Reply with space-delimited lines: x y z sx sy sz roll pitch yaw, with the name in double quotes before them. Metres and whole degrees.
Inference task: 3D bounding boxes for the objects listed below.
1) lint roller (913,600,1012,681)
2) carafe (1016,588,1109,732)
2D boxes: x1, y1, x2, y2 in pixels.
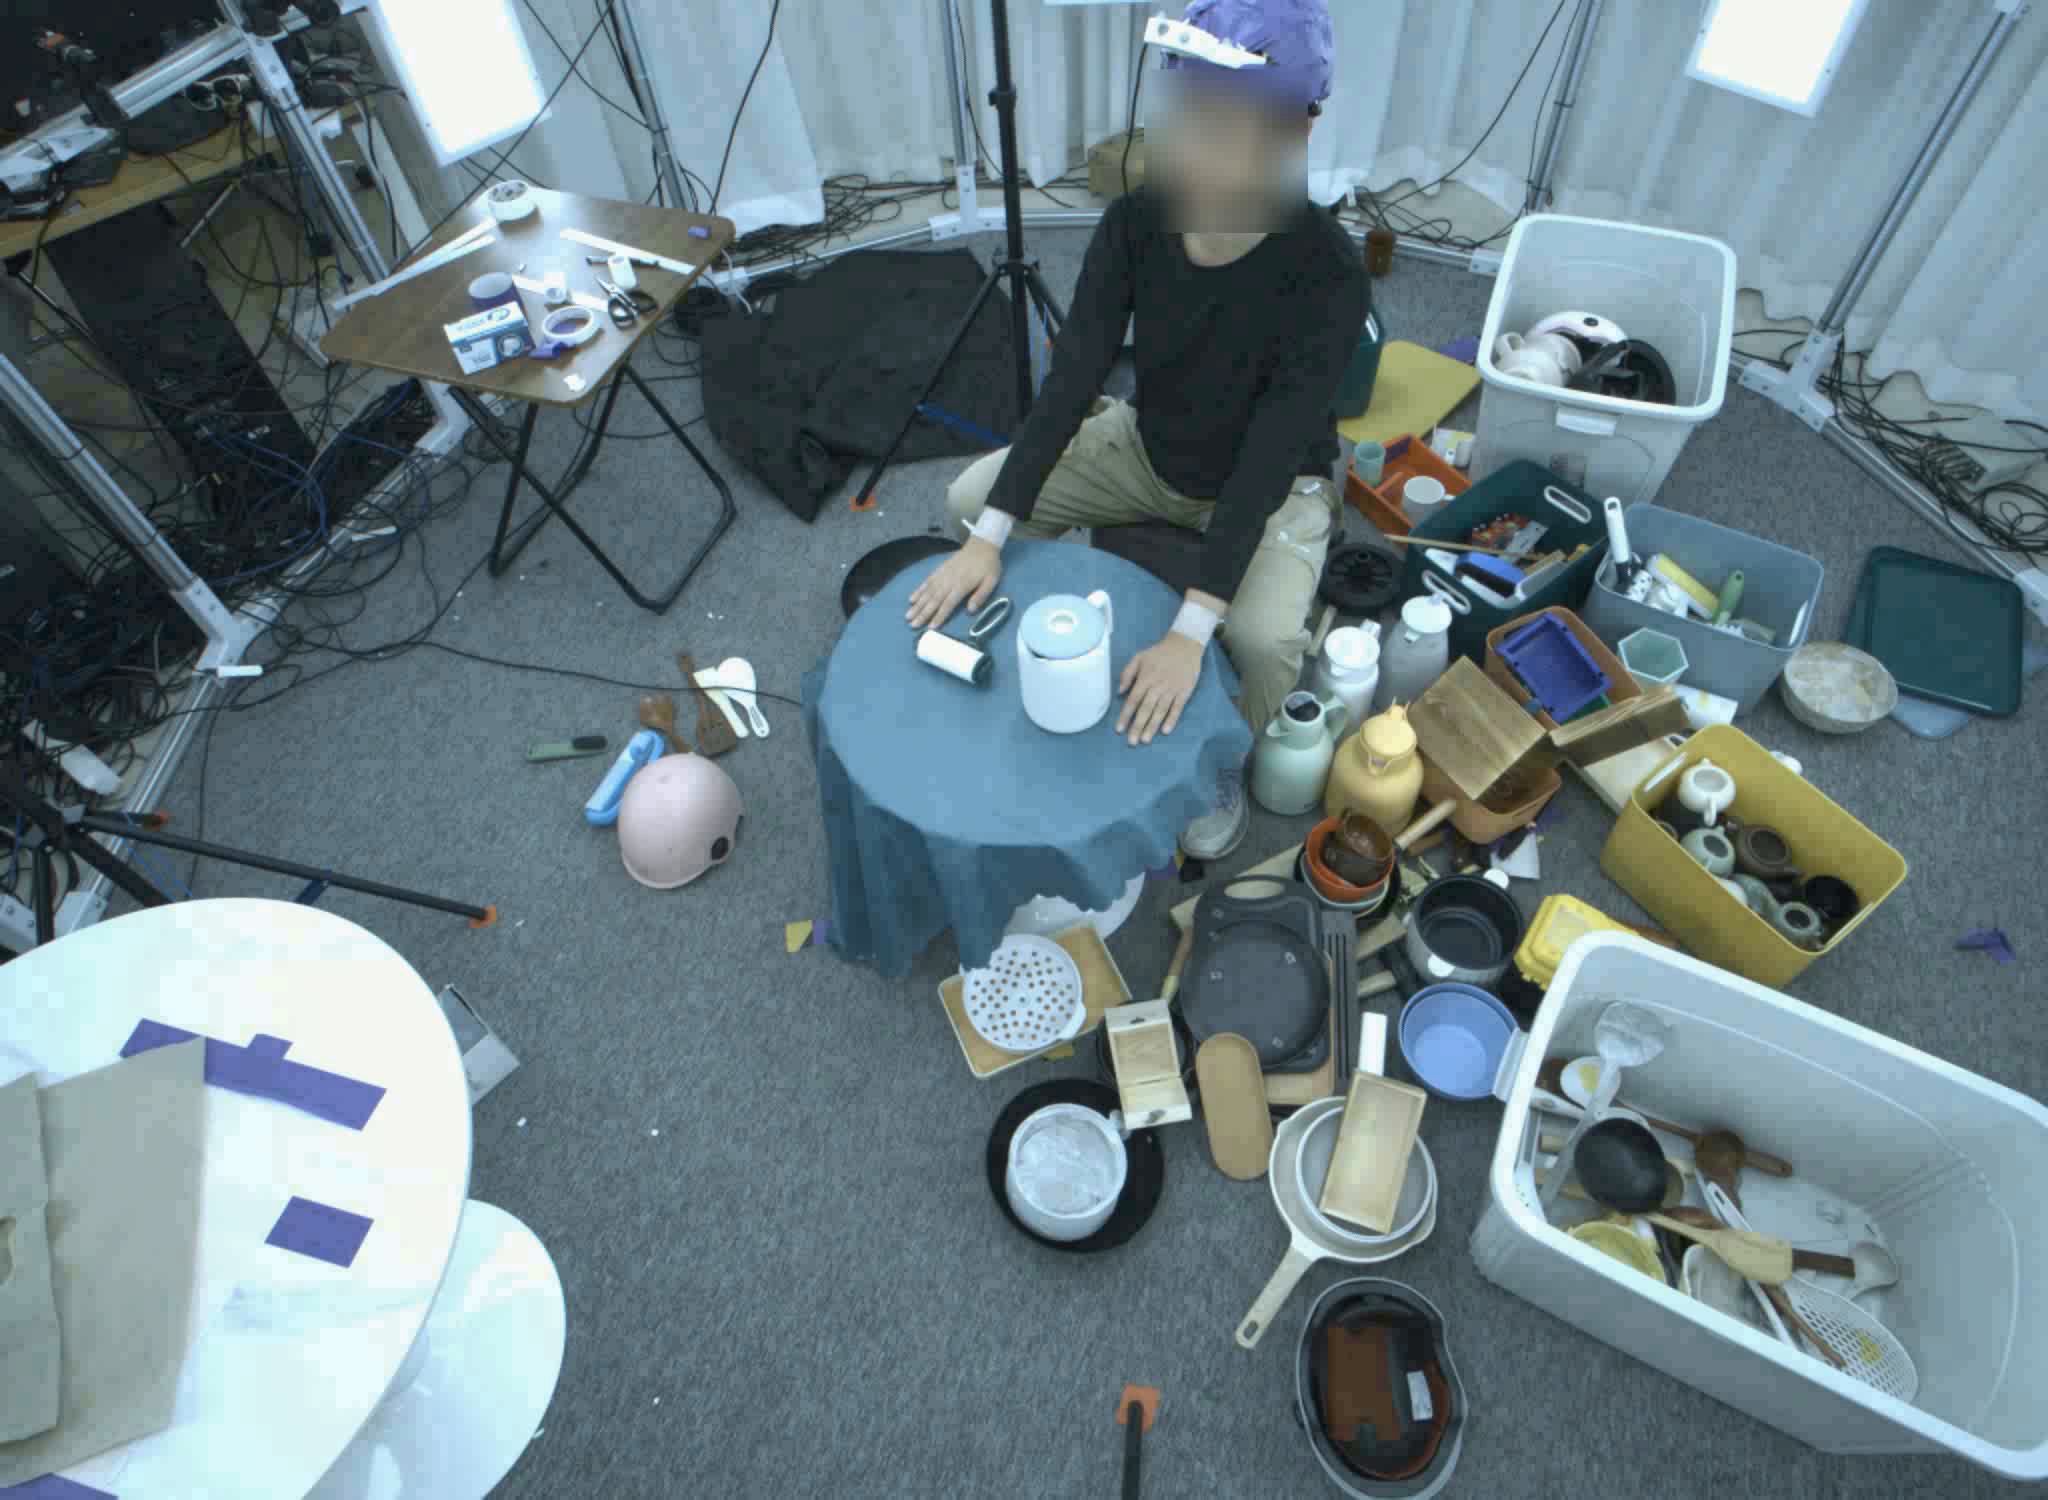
"lint roller" -0.074 -0.189 1.898 0.132 0.049 0.181 26 57 19
"carafe" 0.070 -0.141 1.779 0.130 0.184 0.192 26 58 20
